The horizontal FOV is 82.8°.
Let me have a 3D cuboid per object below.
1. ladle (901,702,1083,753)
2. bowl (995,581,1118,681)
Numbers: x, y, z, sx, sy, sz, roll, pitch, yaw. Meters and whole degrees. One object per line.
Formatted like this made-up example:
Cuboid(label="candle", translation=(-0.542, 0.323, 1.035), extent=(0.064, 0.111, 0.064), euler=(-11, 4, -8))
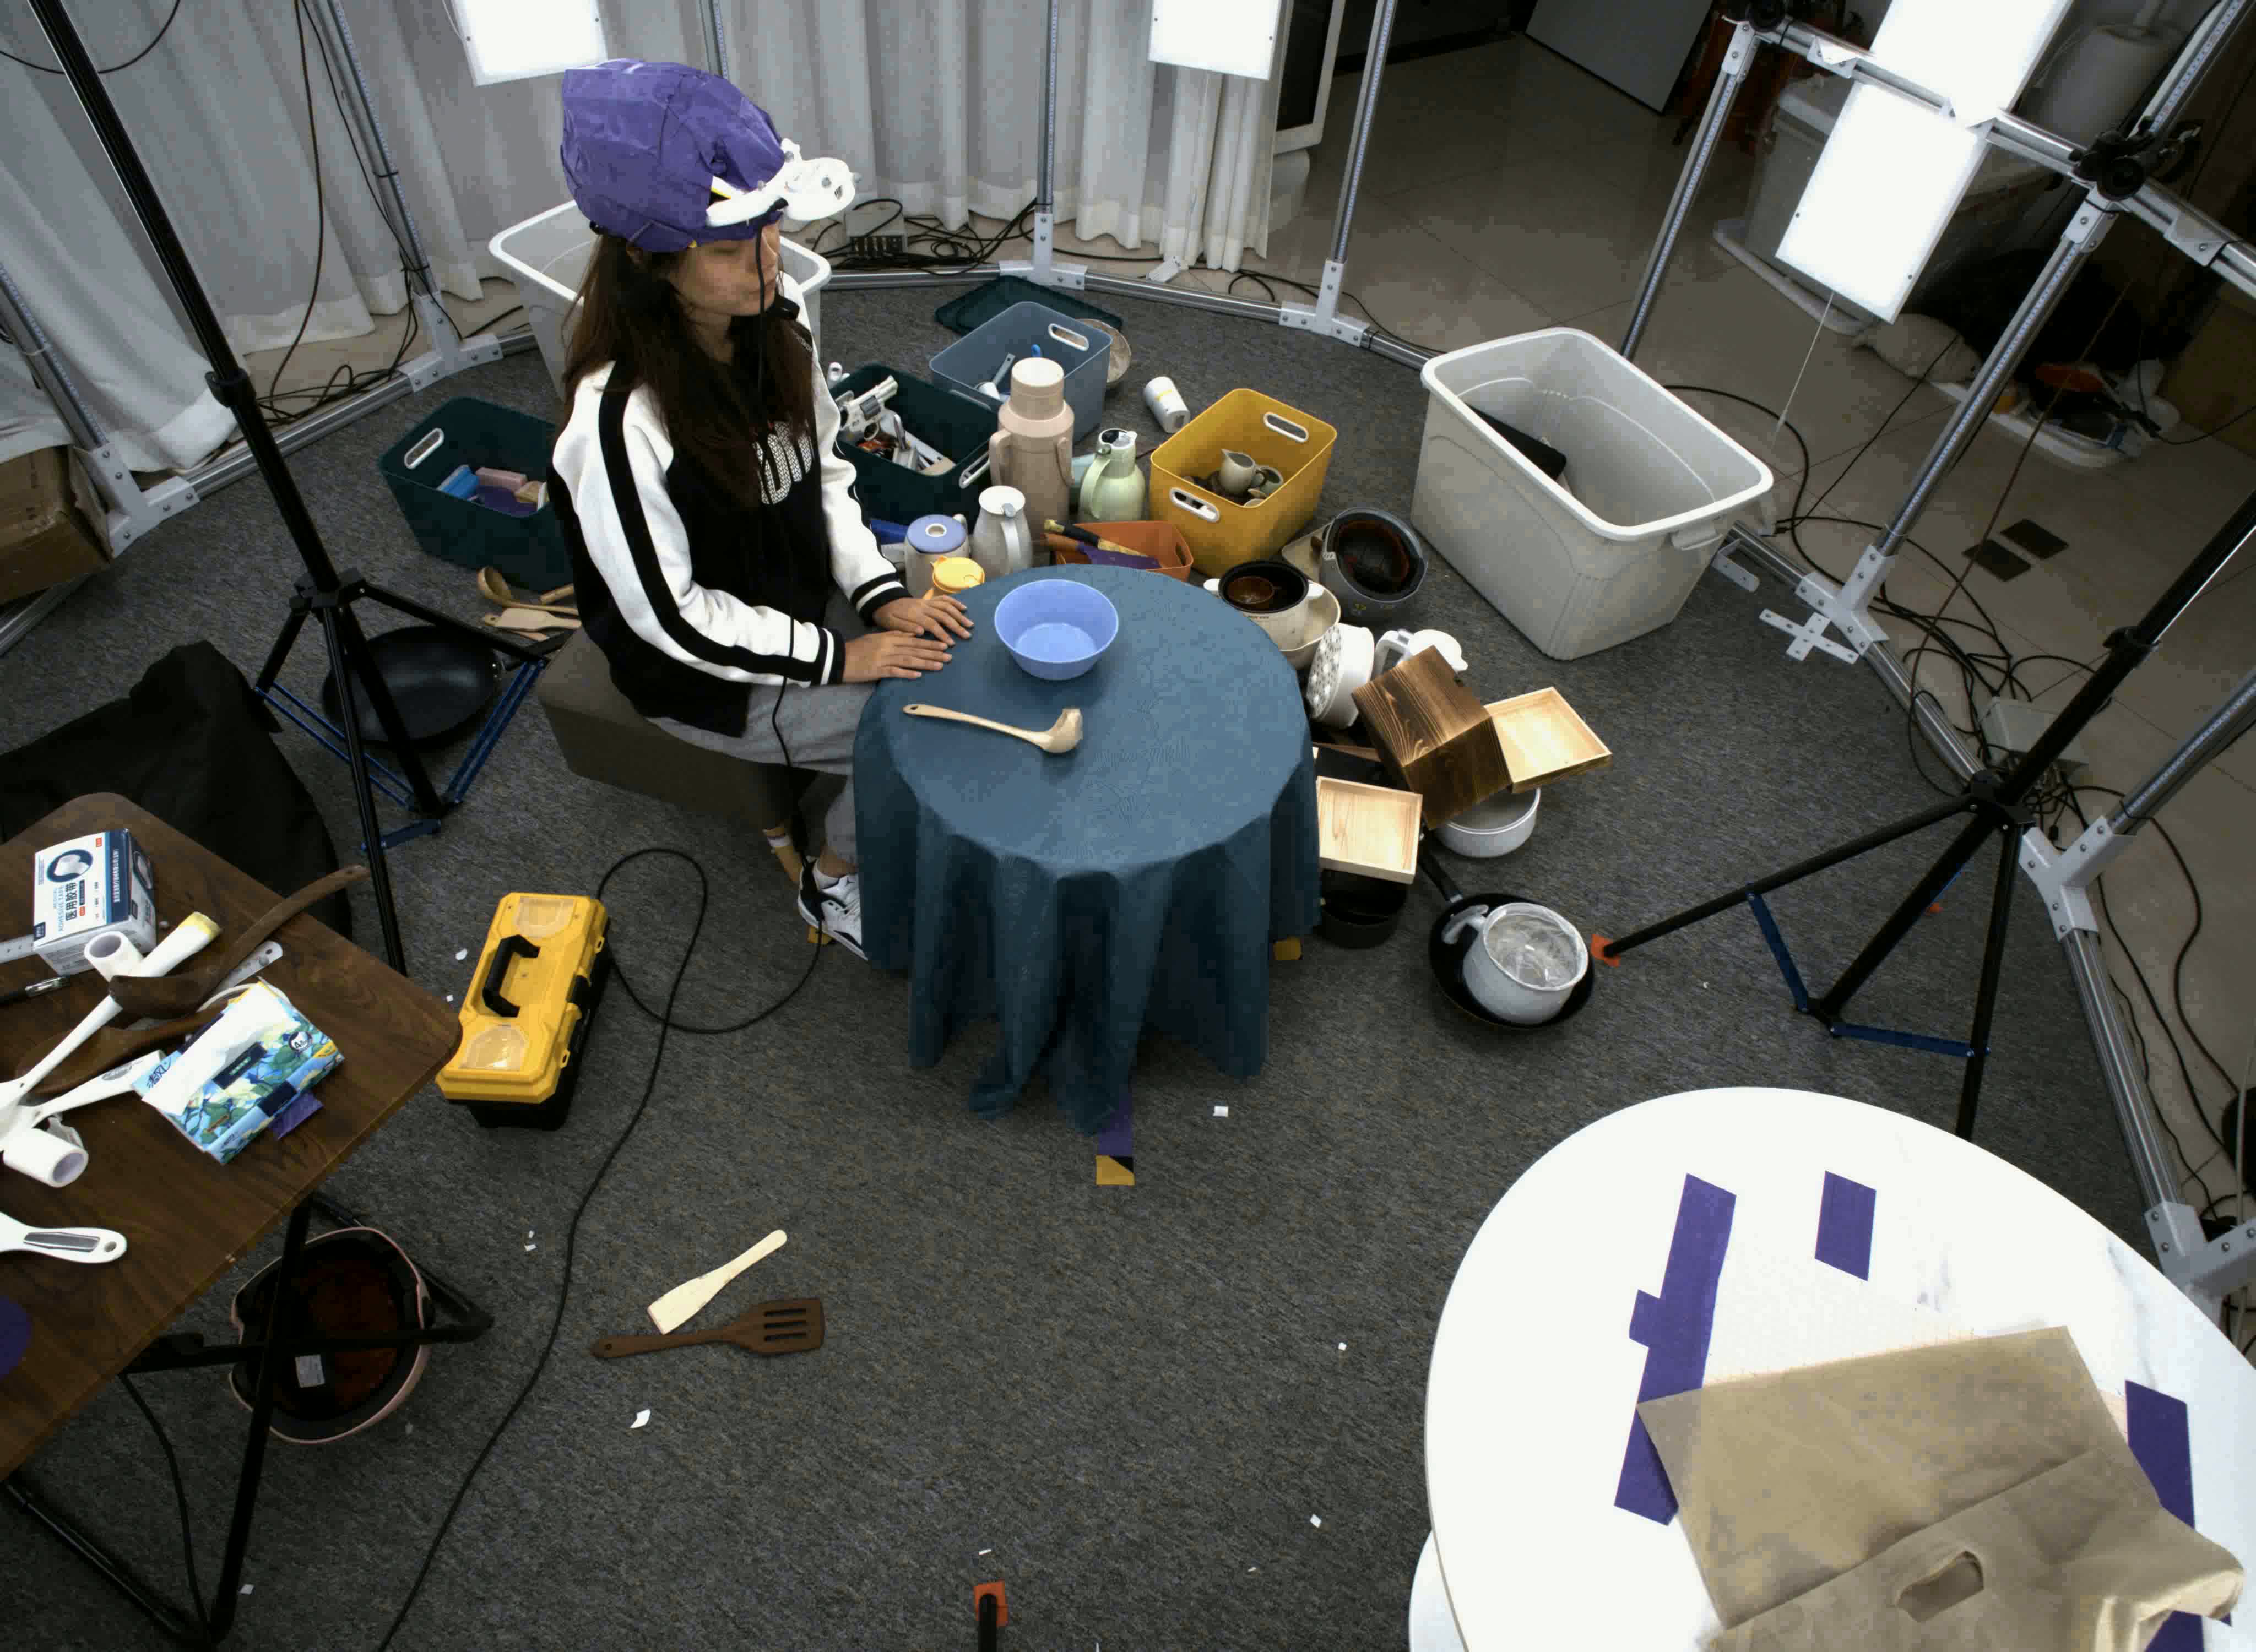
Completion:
Cuboid(label="ladle", translation=(-0.188, -0.154, 1.744), extent=(0.255, 0.071, 0.074), euler=(12, 49, 6))
Cuboid(label="bowl", translation=(-0.104, -0.272, 1.854), extent=(0.176, 0.068, 0.180), euler=(2, 48, -3))
